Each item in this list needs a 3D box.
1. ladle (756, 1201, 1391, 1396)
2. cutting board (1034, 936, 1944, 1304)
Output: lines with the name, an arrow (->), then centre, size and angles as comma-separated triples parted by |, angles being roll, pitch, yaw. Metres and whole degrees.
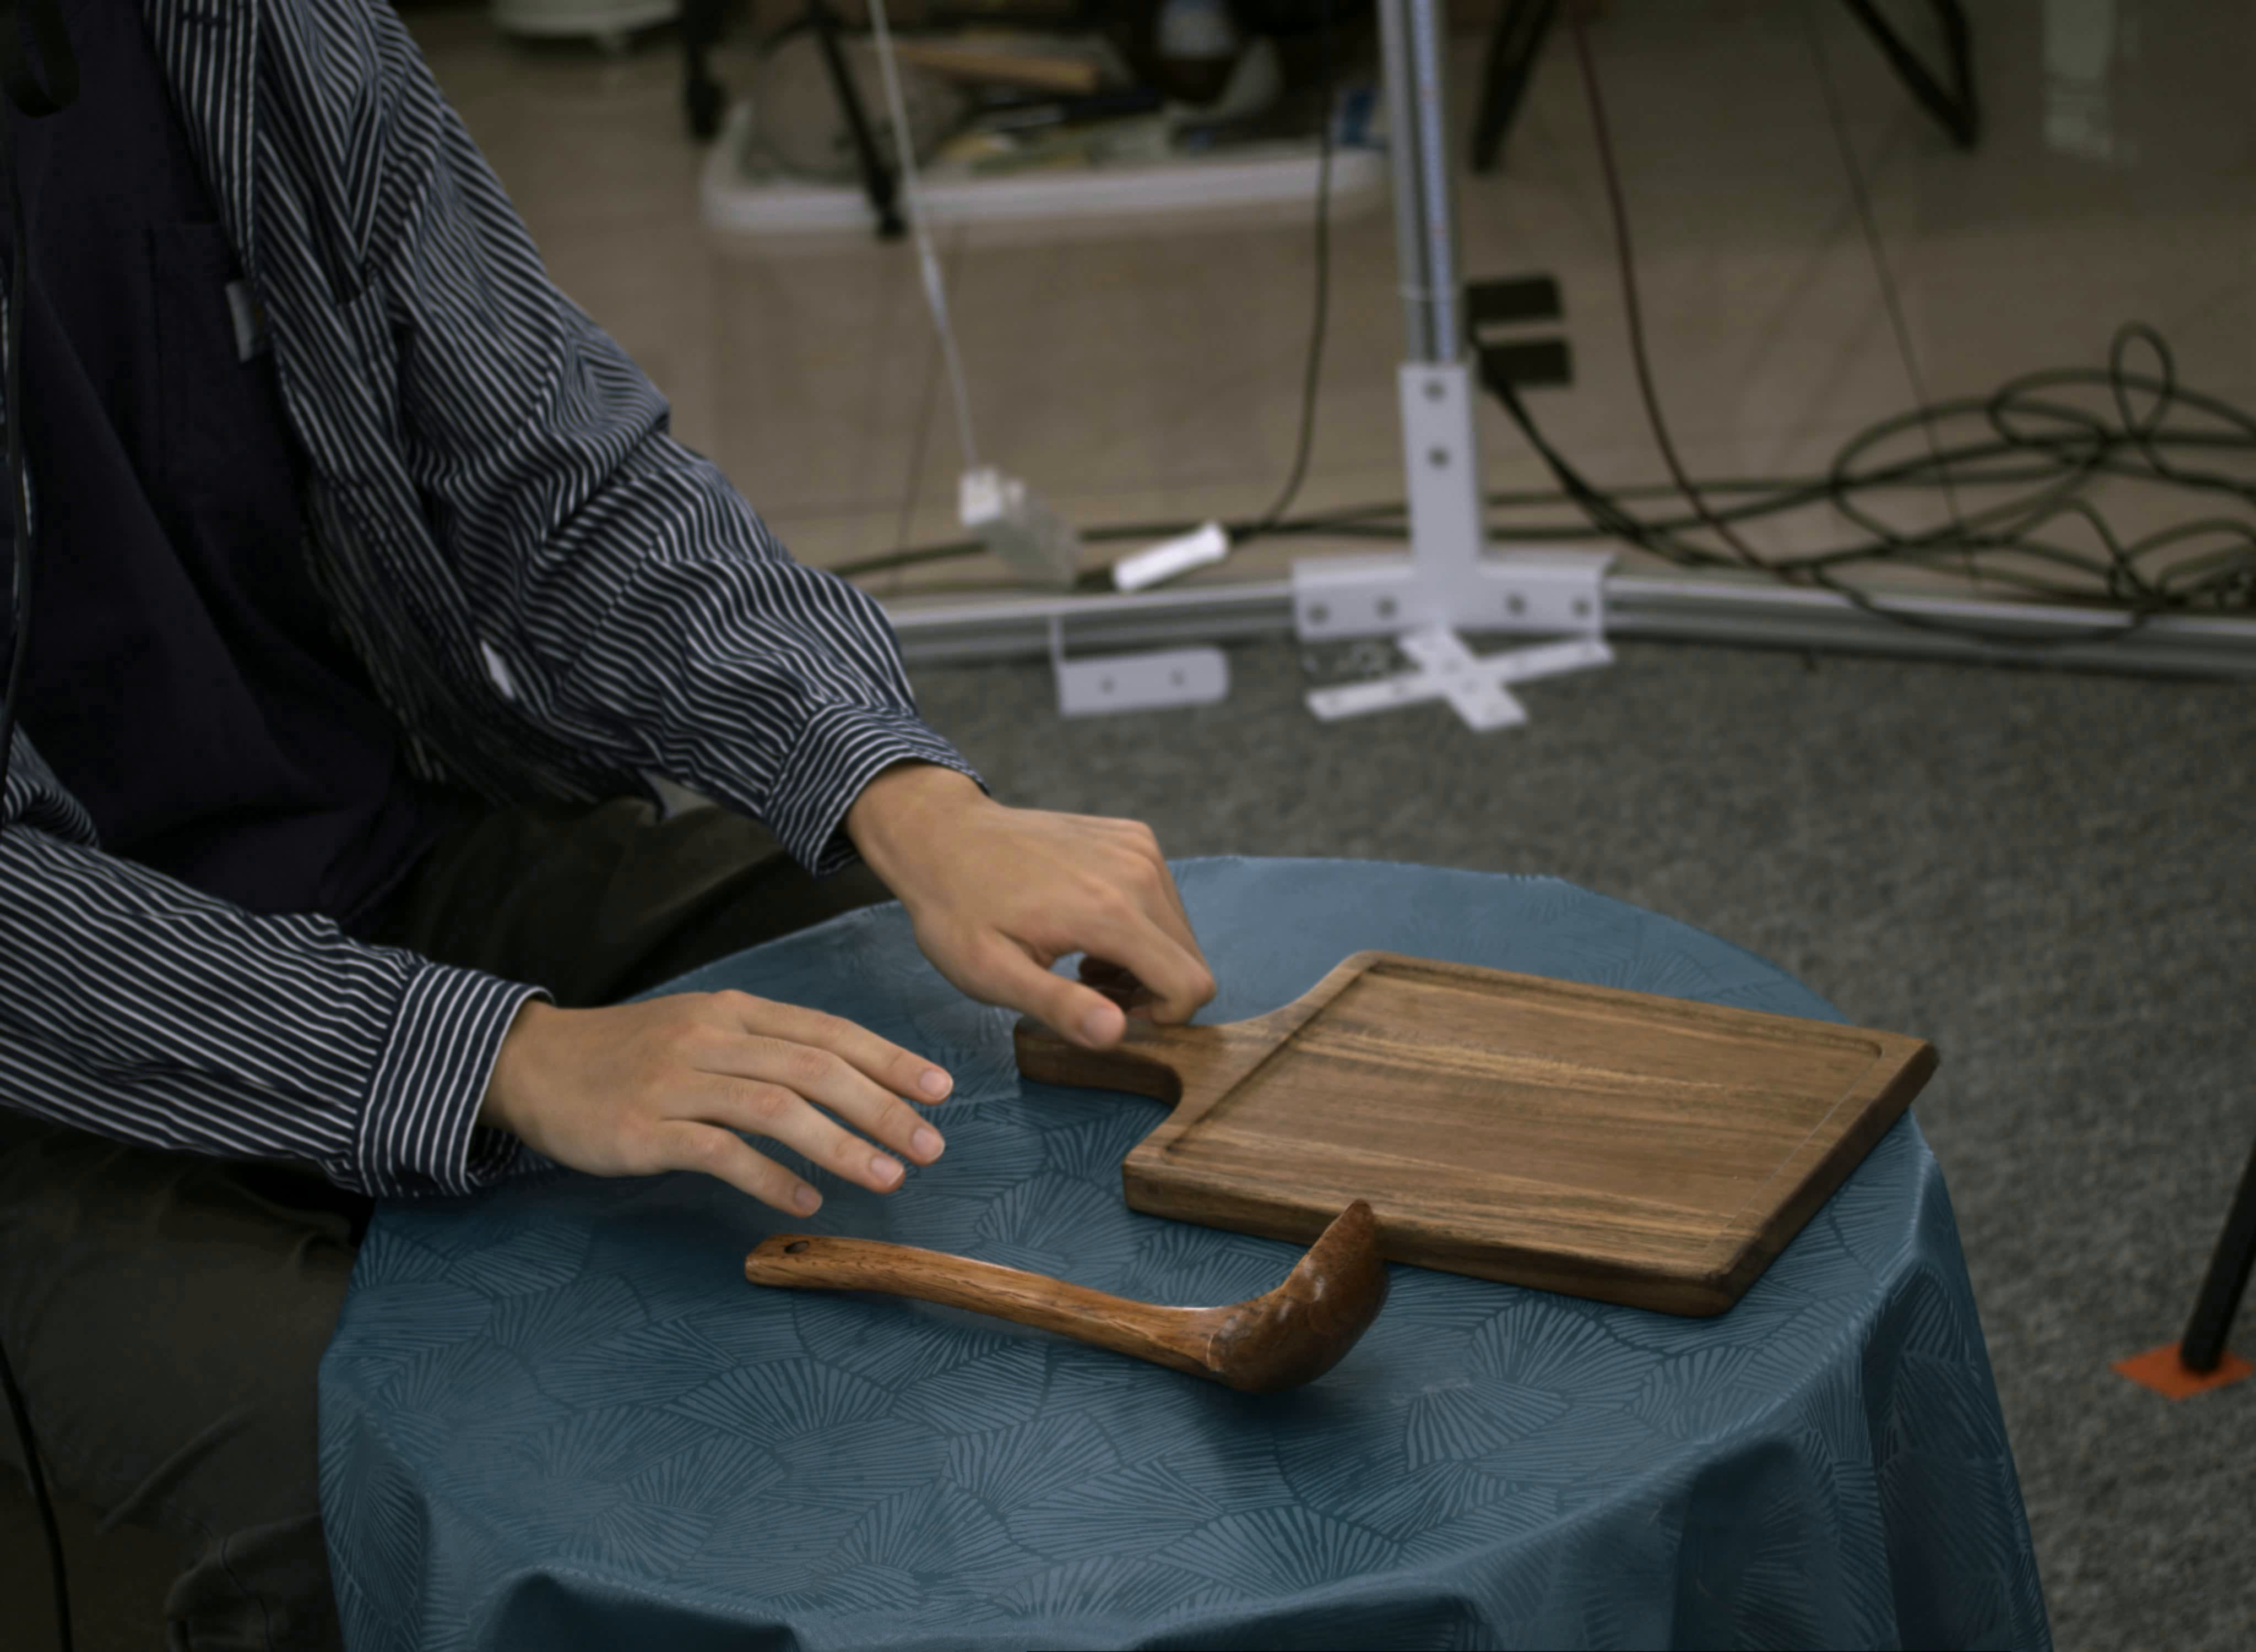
ladle -> -0.028, 0.151, 2.041 | 0.272, 0.078, 0.081 | 11, 31, 32
cutting board -> 0.116, 0.101, 2.180 | 0.350, 0.023, 0.199 | 9, 30, 31
